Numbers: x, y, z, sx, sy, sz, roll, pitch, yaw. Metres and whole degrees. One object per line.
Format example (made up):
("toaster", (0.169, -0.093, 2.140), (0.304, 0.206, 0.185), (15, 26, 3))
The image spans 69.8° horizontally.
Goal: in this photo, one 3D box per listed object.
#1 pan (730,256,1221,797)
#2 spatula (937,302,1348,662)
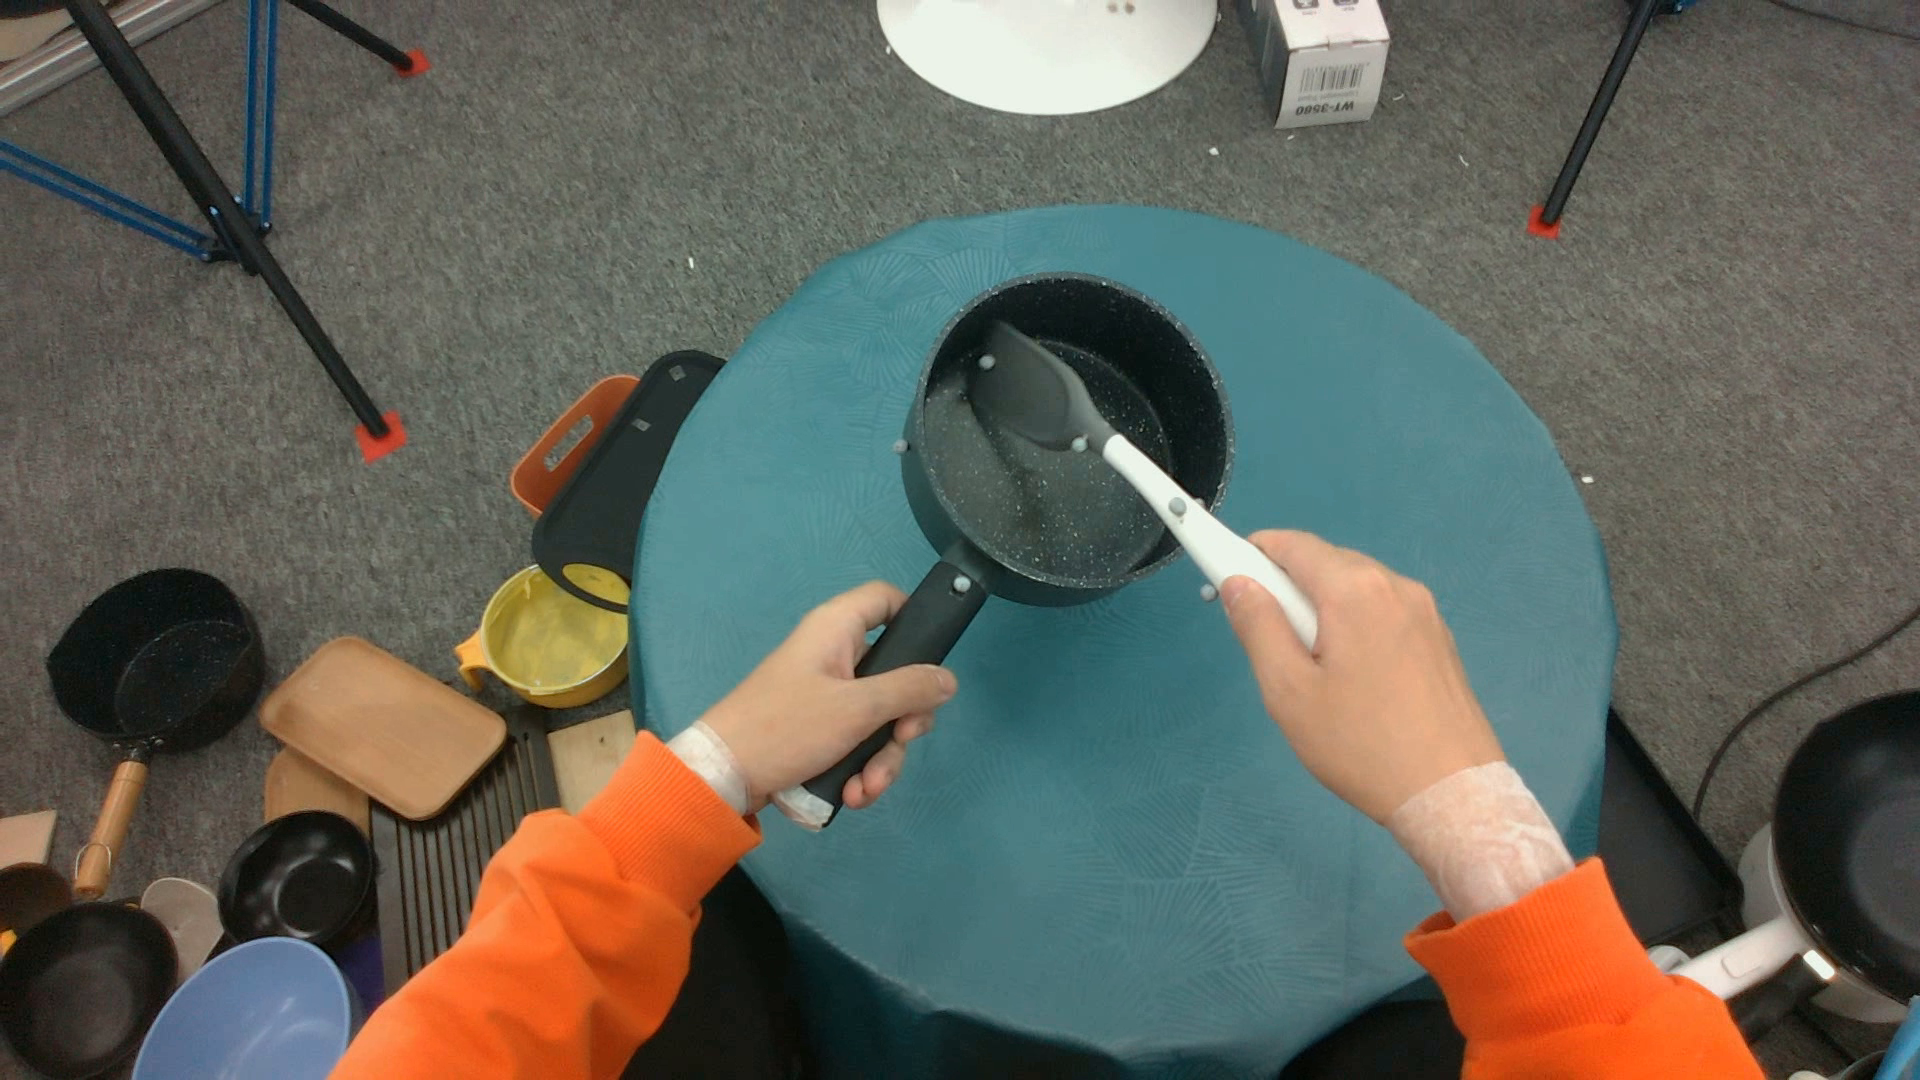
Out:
("pan", (-0.001, 0.000, 0.708), (0.172, 0.086, 0.330), (39, 69, 1))
("spatula", (0.075, -0.036, 0.671), (0.032, 0.058, 0.288), (-8, 36, -34))
